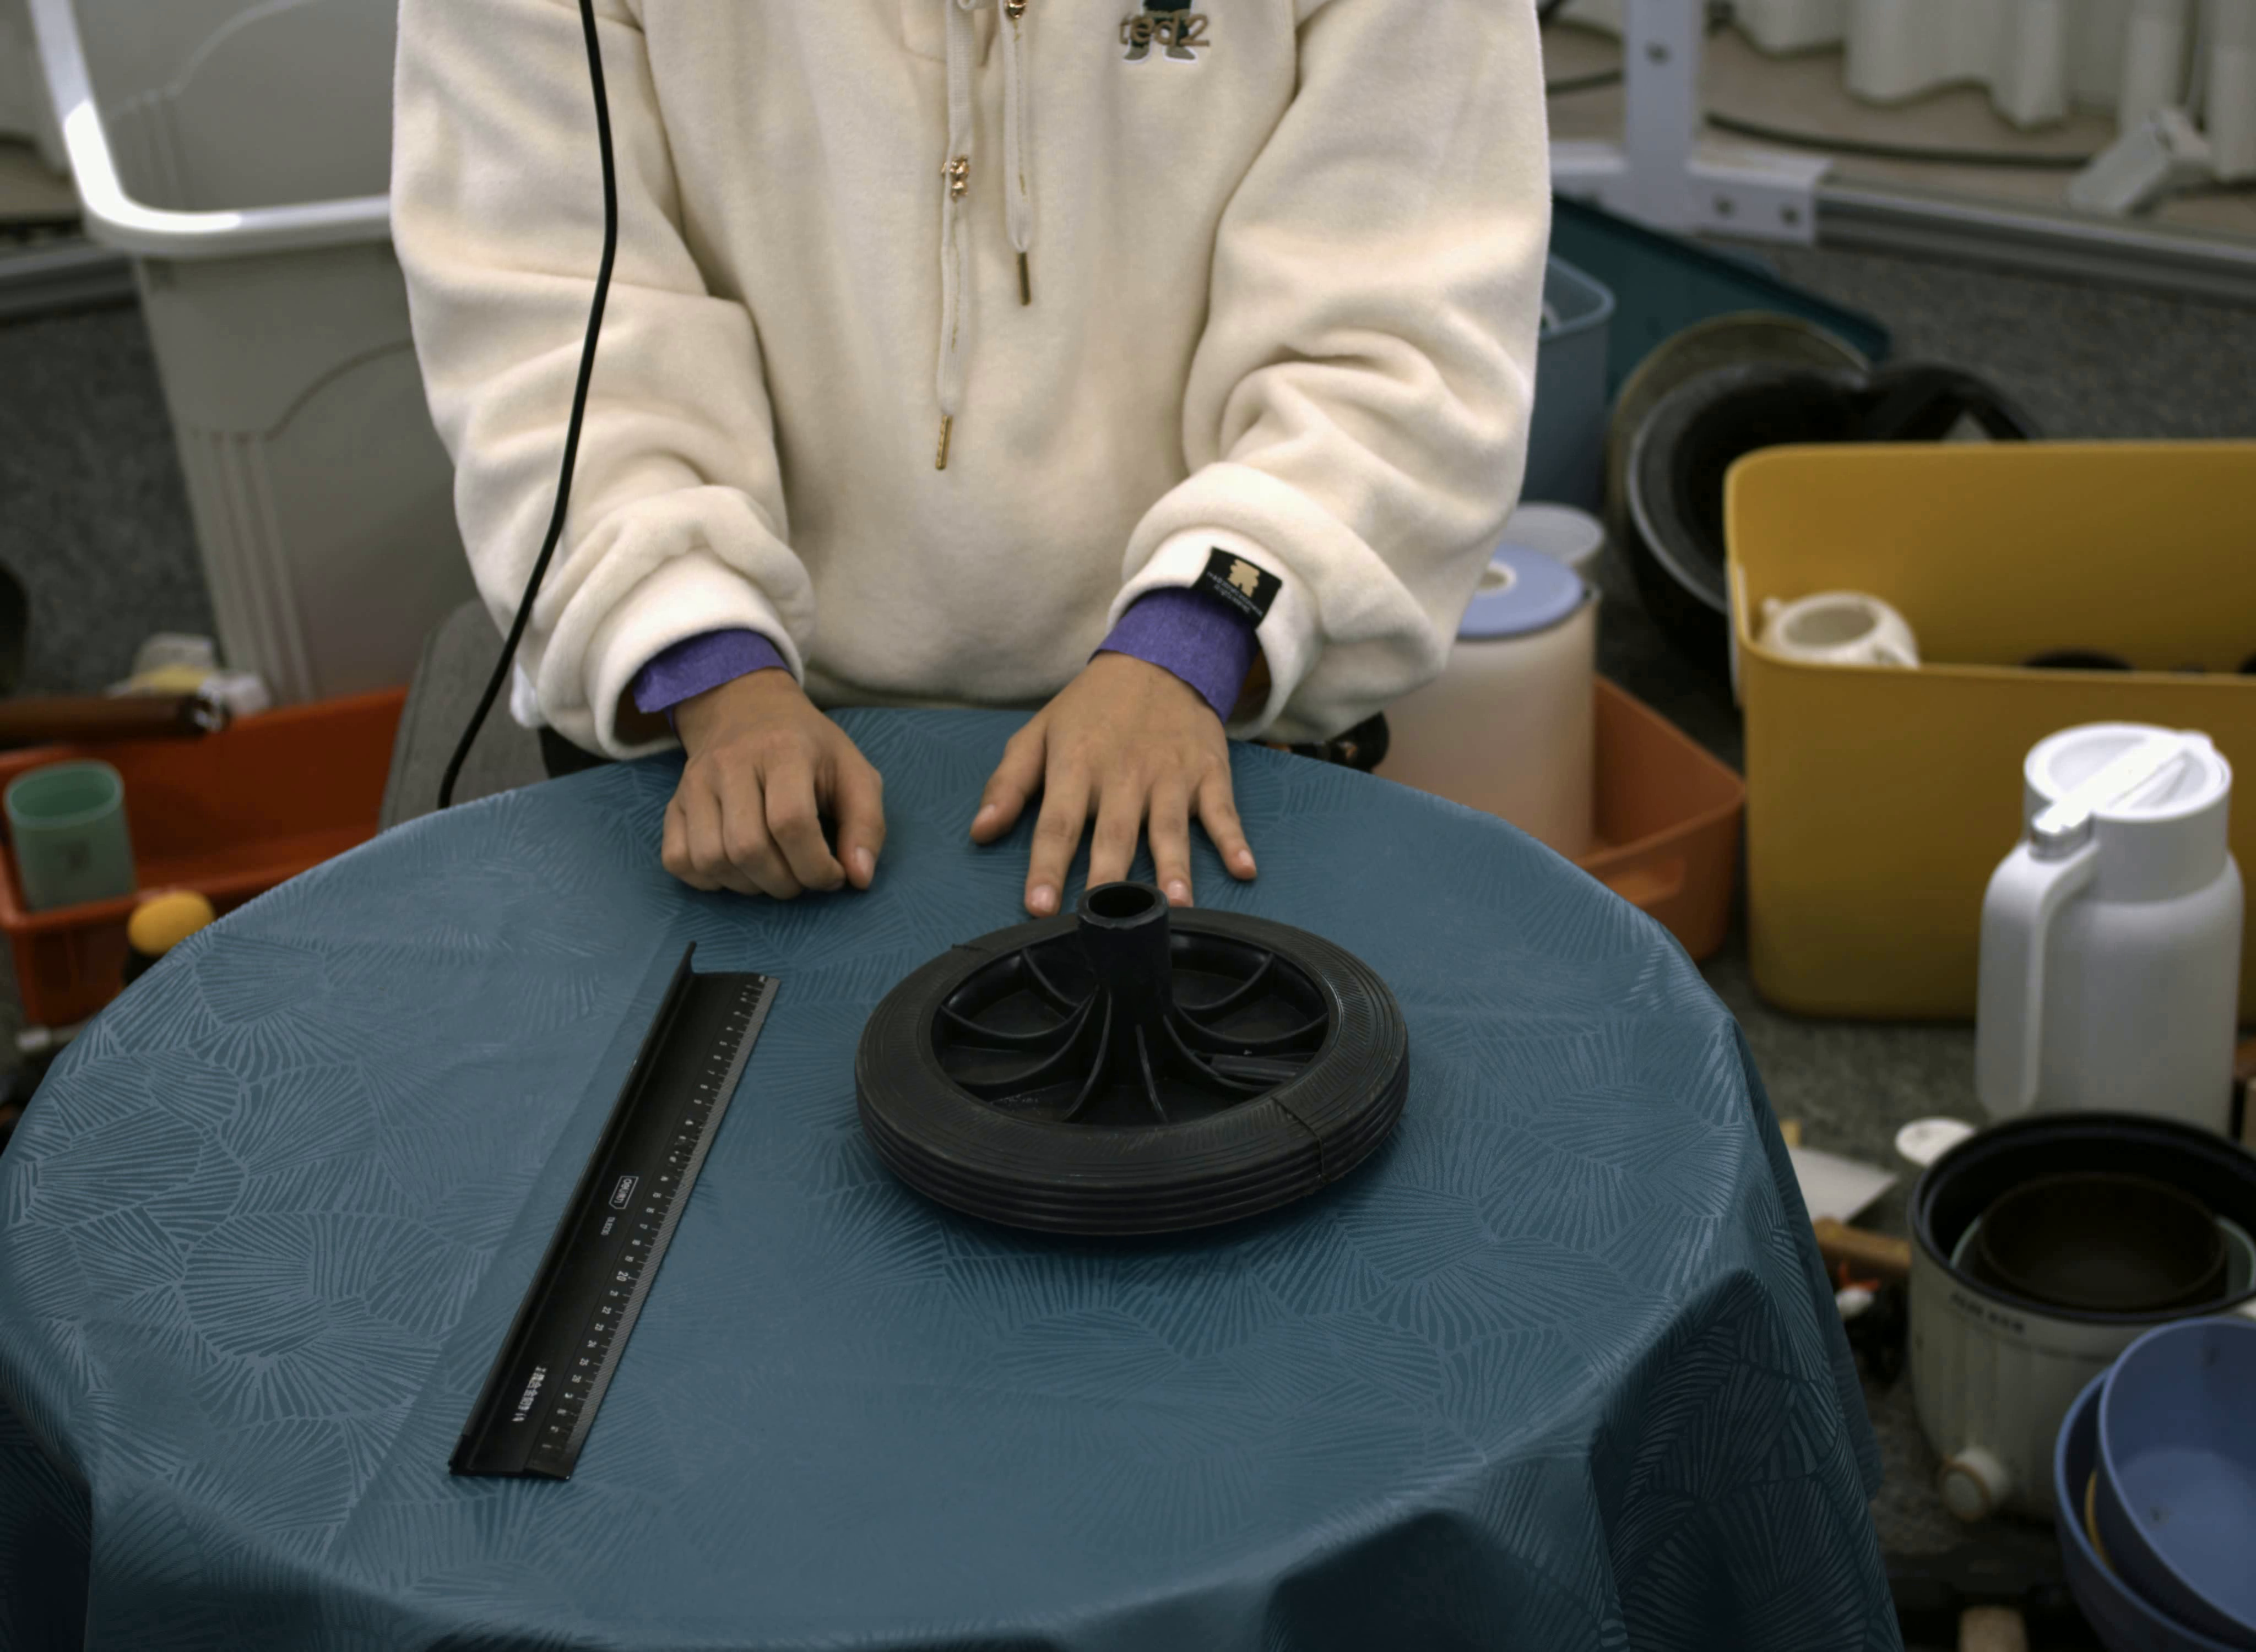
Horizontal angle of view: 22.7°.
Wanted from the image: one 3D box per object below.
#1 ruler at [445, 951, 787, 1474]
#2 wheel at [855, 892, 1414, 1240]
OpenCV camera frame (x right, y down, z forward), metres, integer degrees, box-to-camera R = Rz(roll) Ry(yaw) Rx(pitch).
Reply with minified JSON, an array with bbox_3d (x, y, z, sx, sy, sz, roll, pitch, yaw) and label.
[{"bbox_3d":[-0.166,0.122,1.860,0.039,0.017,0.318,6,28,8],"label":"ruler"},{"bbox_3d":[0.001,0.064,1.890,0.189,0.078,0.190,-5,27,-4],"label":"wheel"}]
